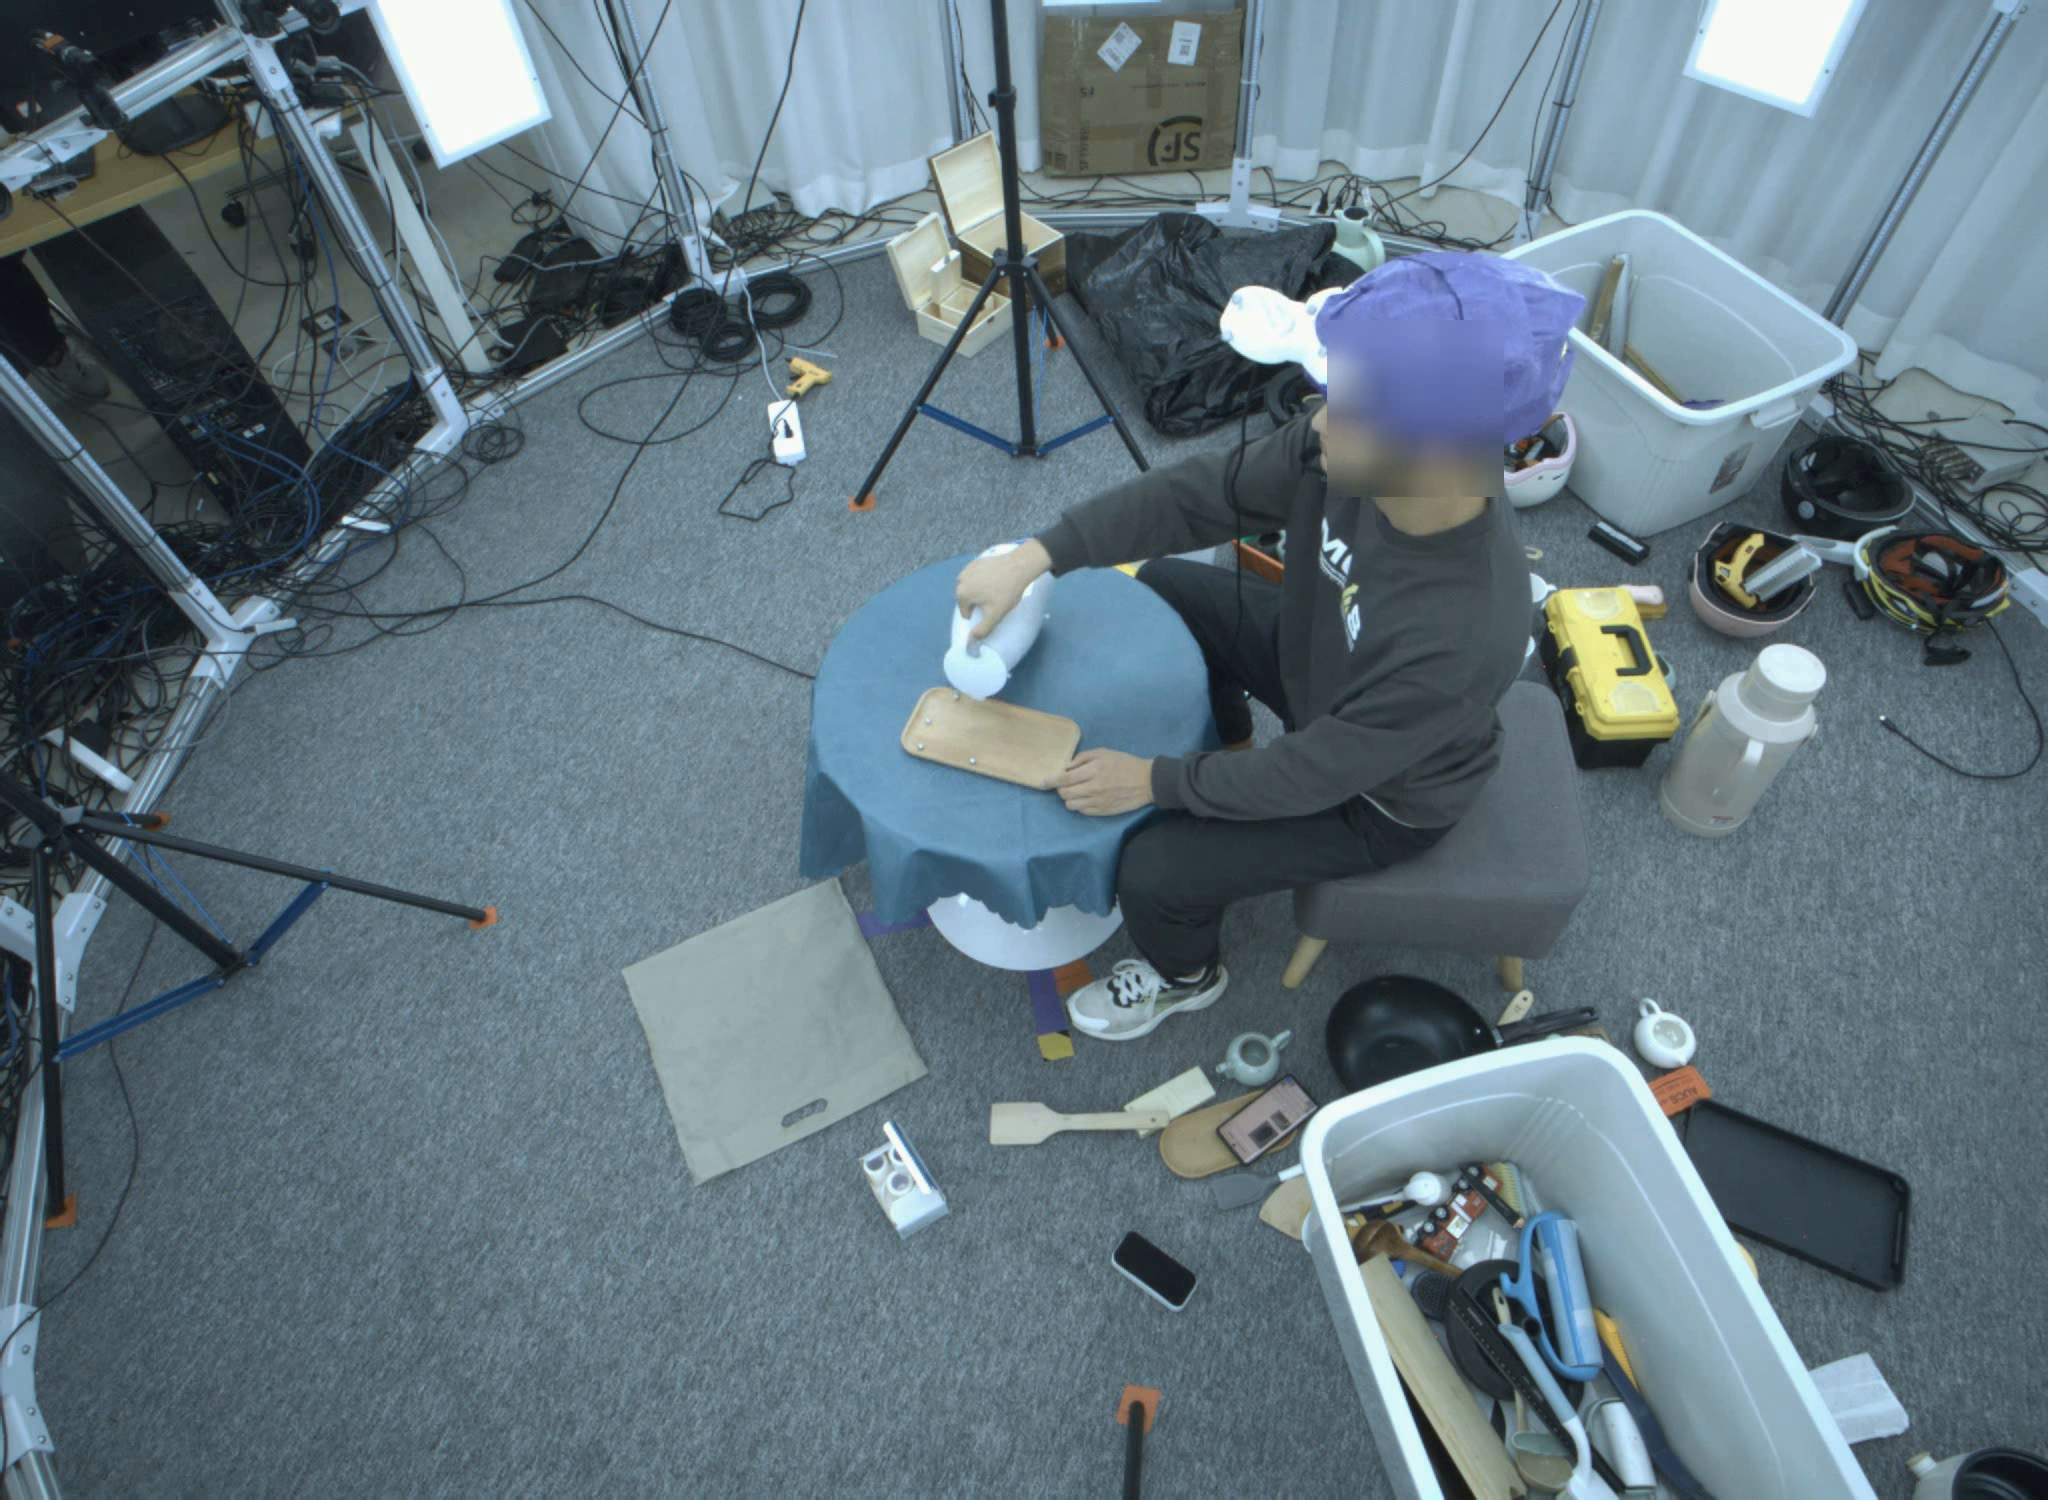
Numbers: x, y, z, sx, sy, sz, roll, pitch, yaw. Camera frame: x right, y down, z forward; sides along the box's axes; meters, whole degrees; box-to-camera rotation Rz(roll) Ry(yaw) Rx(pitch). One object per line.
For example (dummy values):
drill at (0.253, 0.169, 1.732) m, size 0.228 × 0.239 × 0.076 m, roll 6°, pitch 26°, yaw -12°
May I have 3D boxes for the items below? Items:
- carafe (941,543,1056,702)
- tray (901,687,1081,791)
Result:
carafe at (-0.047, -0.197, 1.782) m, size 0.131 × 0.169 × 0.248 m, roll 8°, pitch 42°, yaw 12°
tray at (-0.048, -0.018, 1.789) m, size 0.248 × 0.023 × 0.130 m, roll 16°, pitch 59°, yaw 12°
